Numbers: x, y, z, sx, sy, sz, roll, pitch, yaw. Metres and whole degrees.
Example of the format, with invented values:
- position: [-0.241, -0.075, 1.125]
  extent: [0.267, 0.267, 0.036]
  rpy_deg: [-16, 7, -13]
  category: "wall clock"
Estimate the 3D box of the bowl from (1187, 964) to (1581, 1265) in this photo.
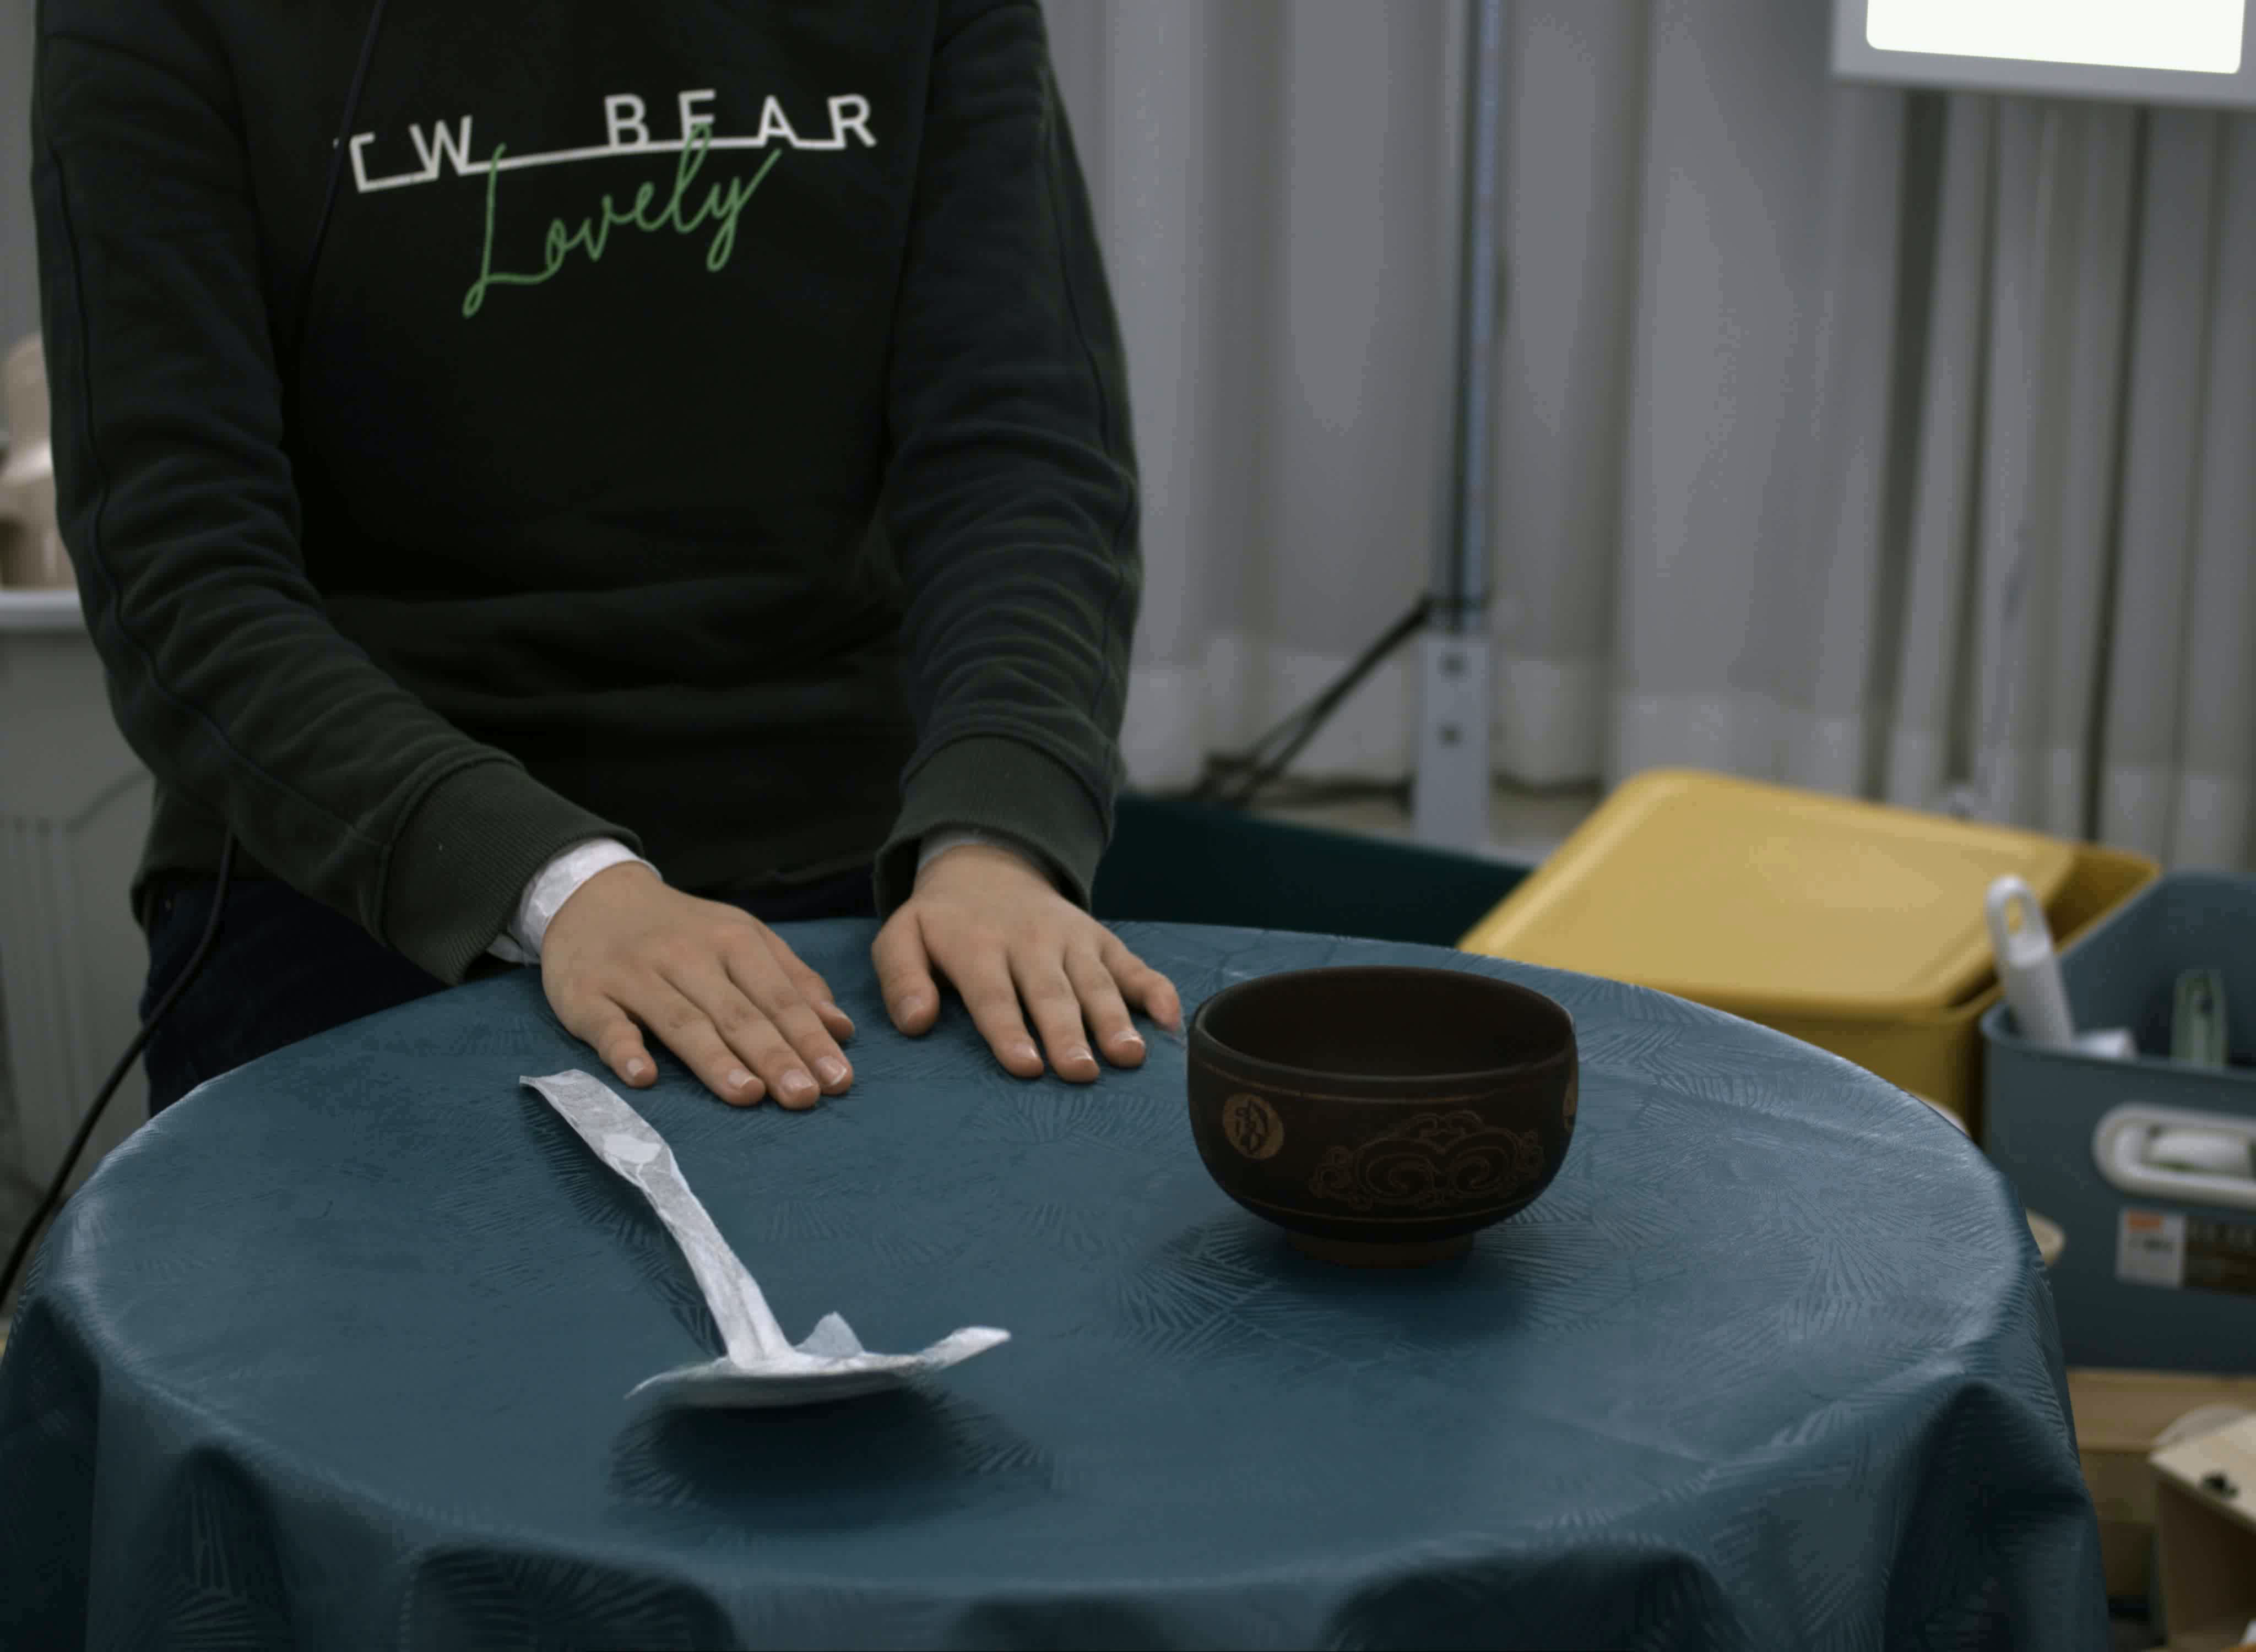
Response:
- position: [0.076, 0.090, 1.578]
  extent: [0.117, 0.070, 0.117]
  rpy_deg: [2, 15, 0]
  category: "bowl"

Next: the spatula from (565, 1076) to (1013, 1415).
- position: [-0.125, 0.114, 1.546]
  extent: [0.099, 0.045, 0.361]
  rpy_deg: [-6, 17, -17]
  category: "spatula"
